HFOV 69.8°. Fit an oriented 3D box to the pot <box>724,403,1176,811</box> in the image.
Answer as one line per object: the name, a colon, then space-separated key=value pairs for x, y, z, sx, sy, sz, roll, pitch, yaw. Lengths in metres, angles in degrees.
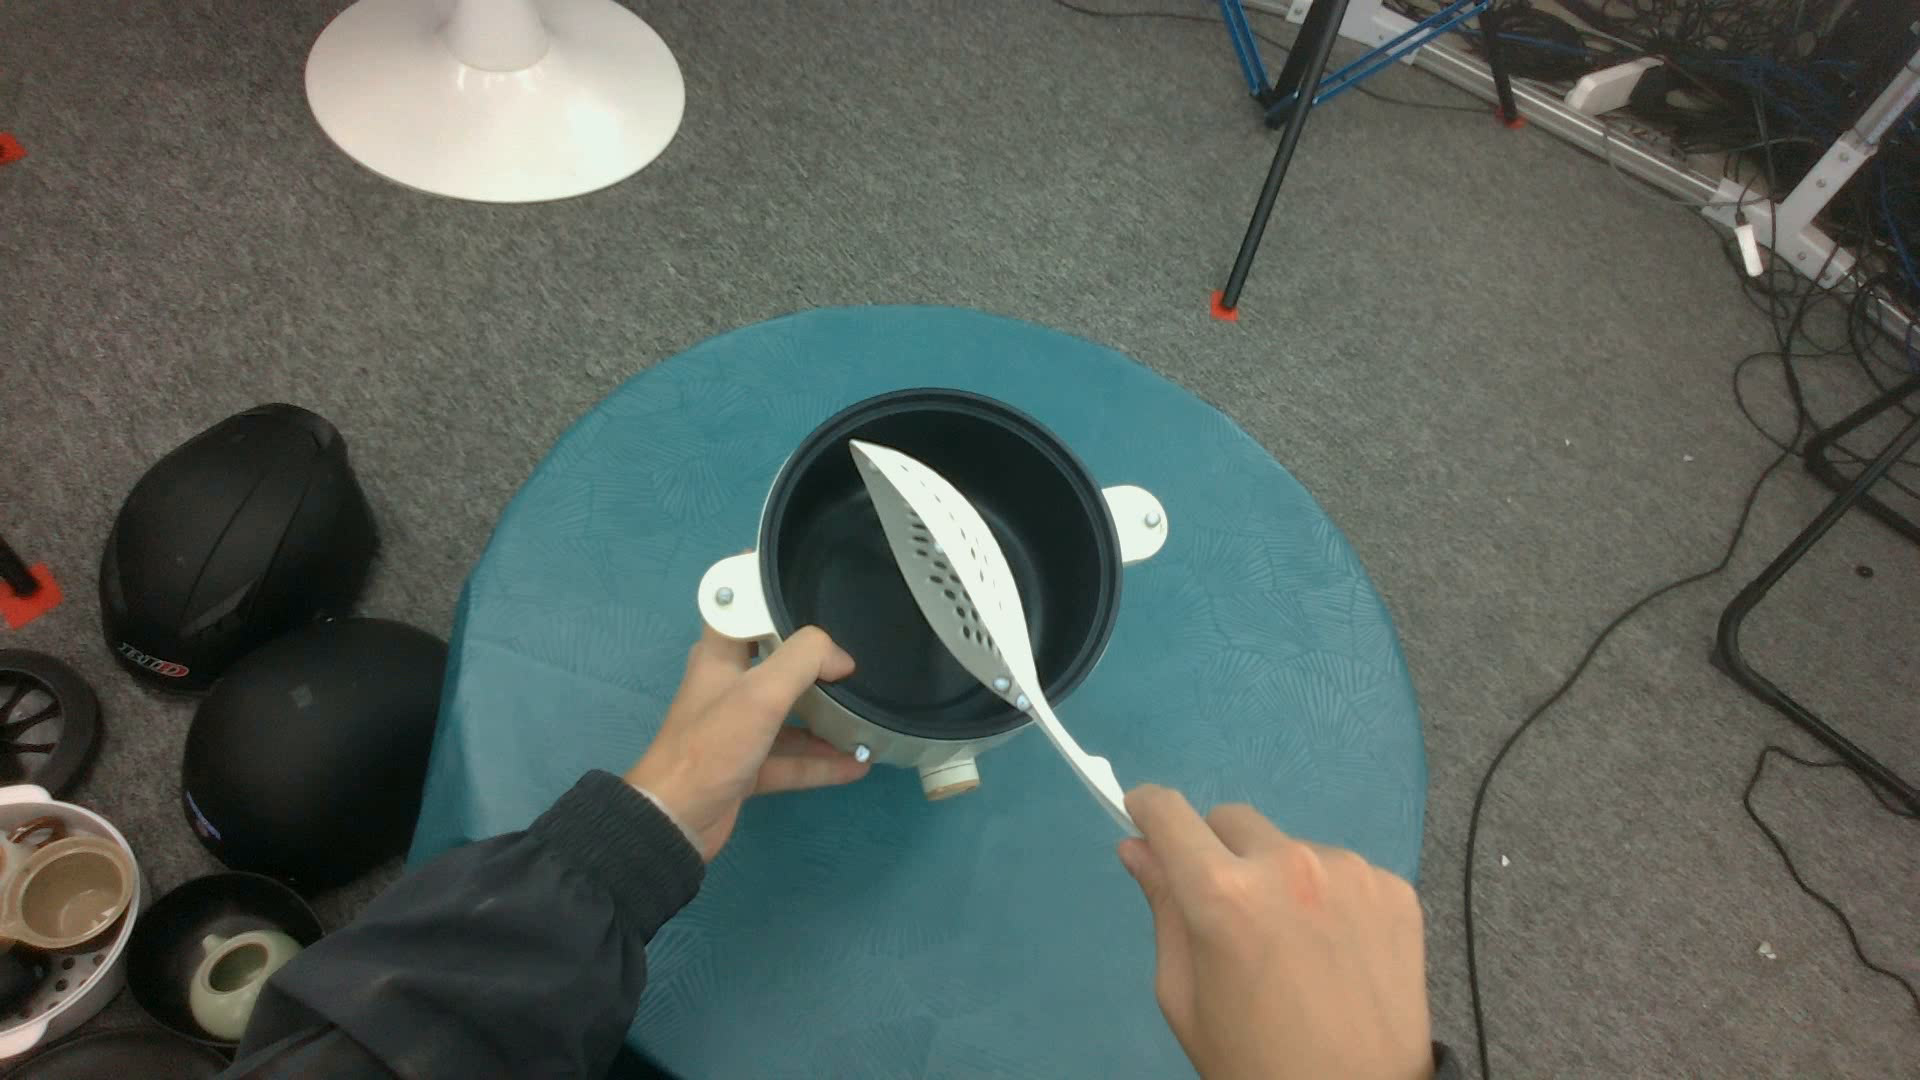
pot: x=-0.008 y=0.042 z=0.741 sx=0.241 sy=0.142 sz=0.191 roll=-14 pitch=70 yaw=-15

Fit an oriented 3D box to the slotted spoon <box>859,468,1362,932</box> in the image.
slotted spoon: x=0.049 y=0.068 z=0.613 sx=0.050 sy=0.136 sz=0.348 roll=-29 pitch=38 yaw=-10
